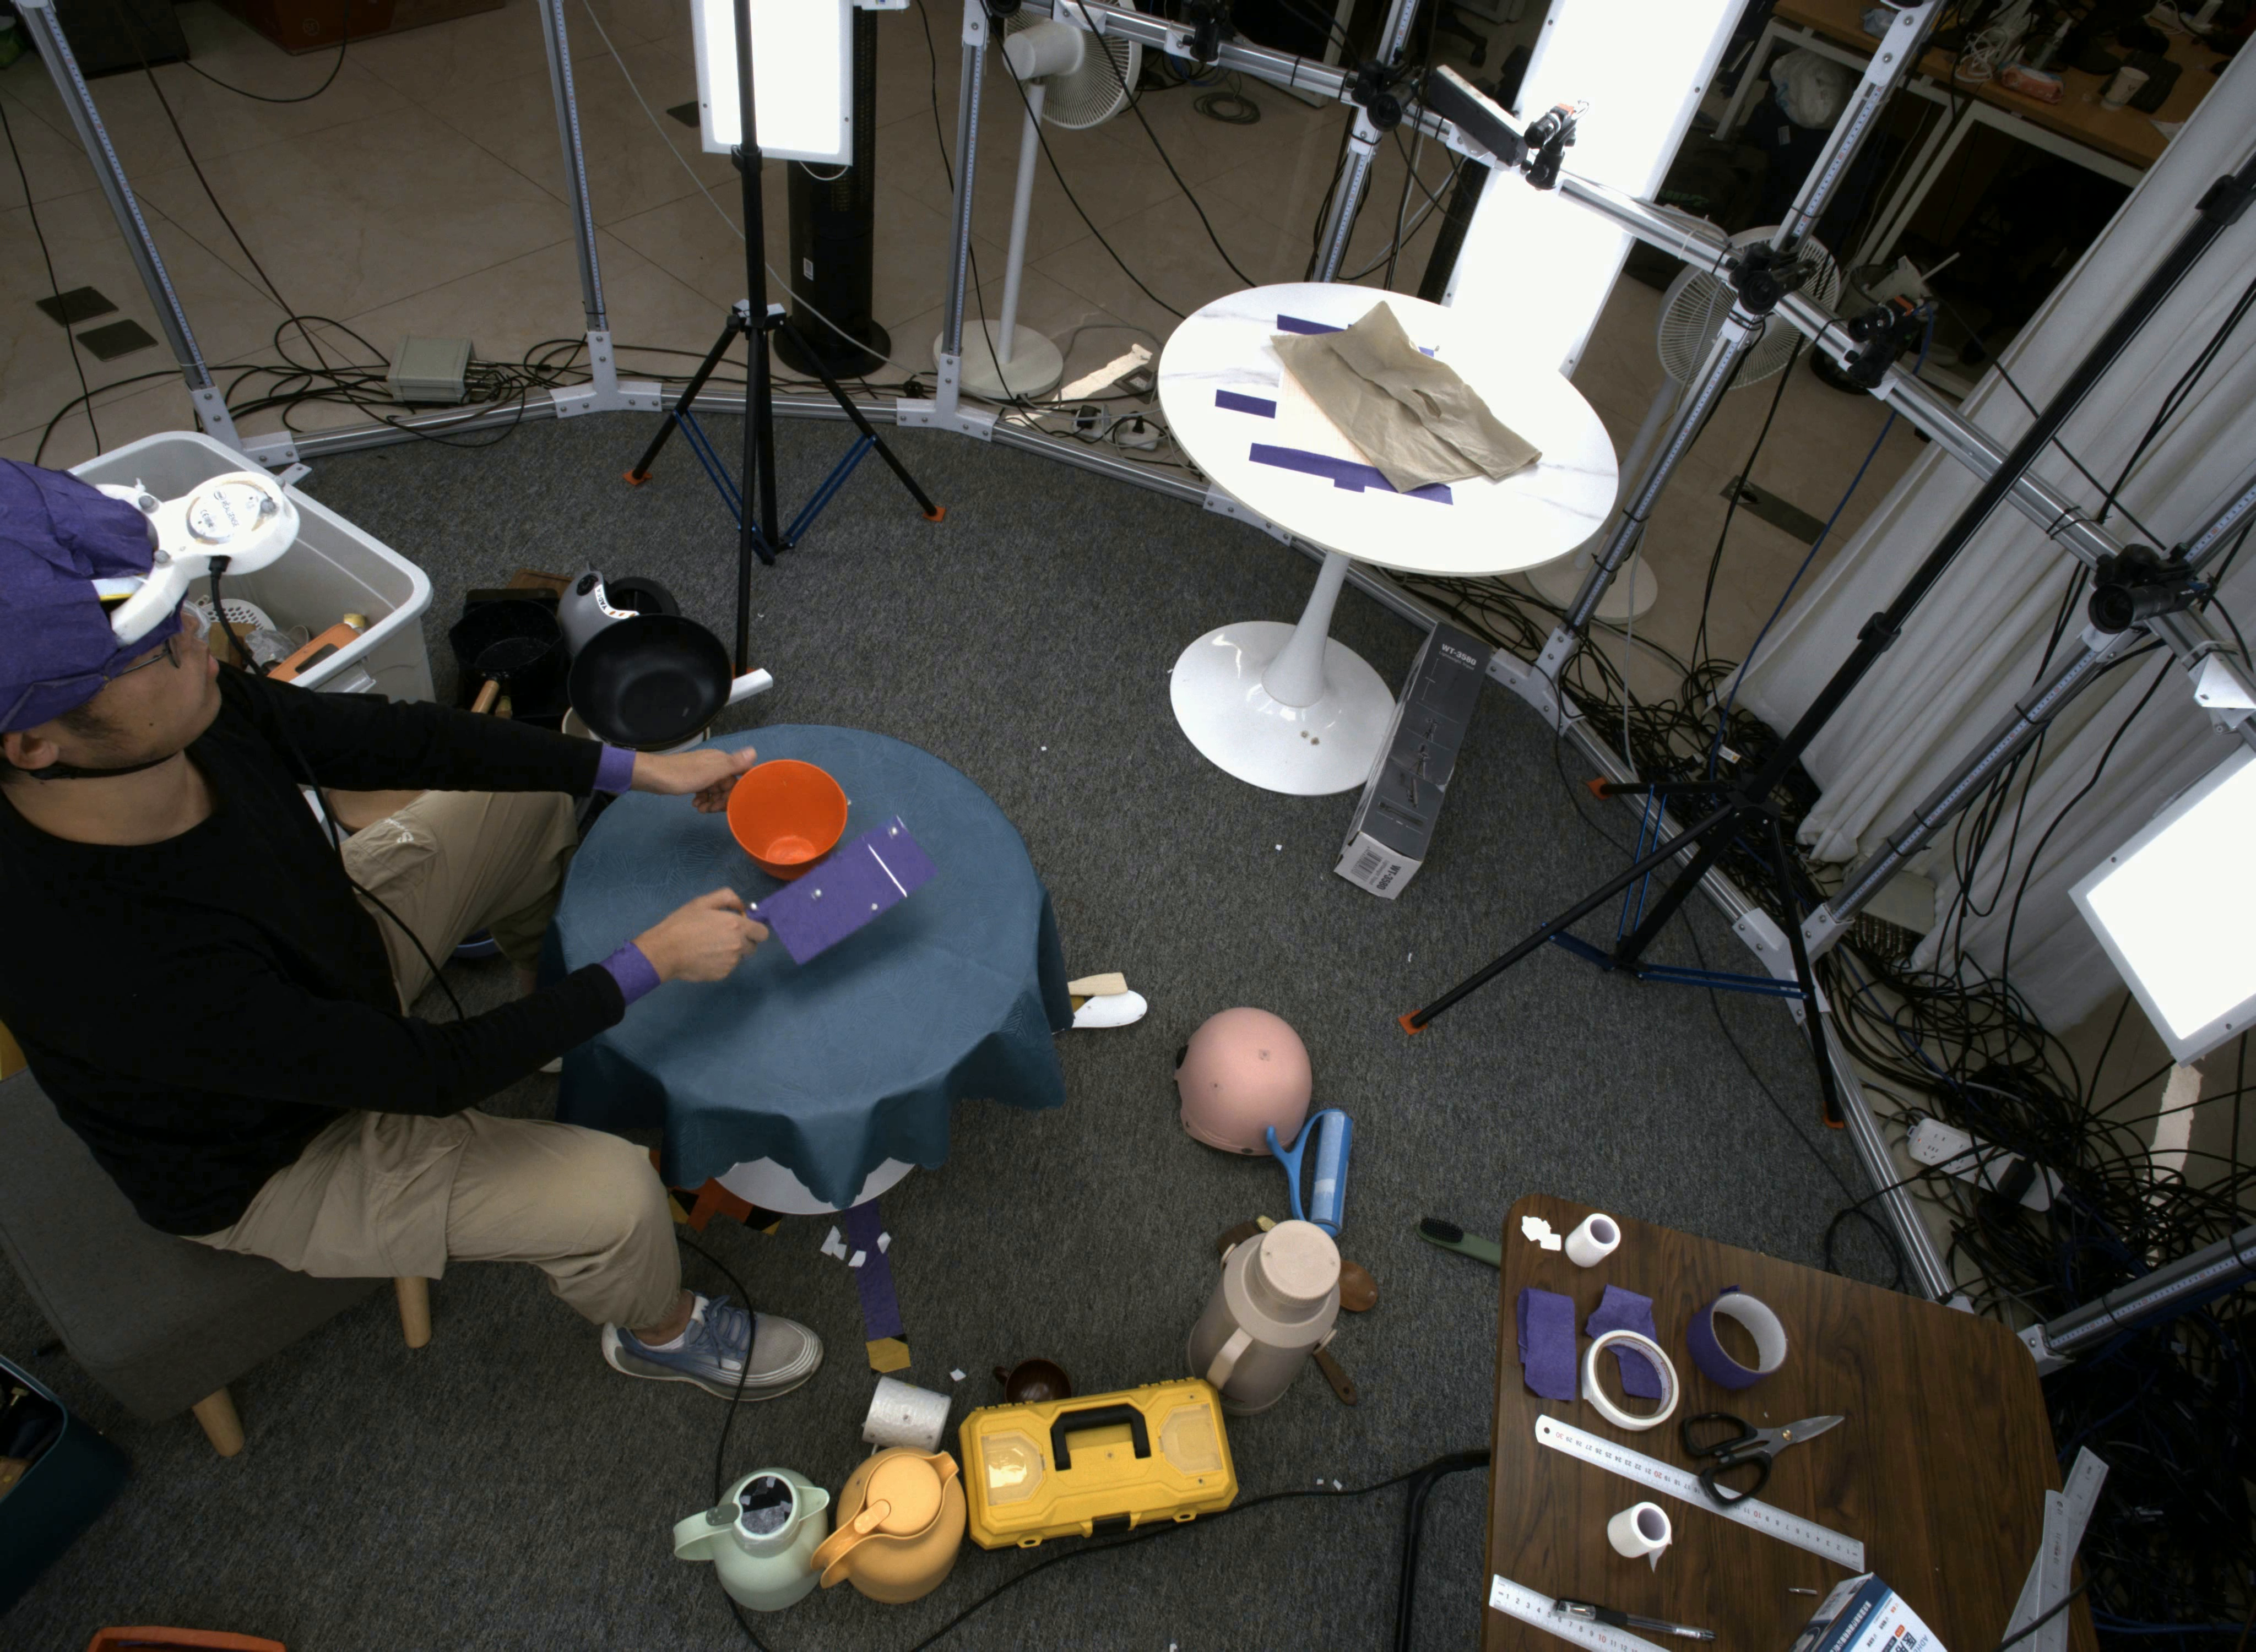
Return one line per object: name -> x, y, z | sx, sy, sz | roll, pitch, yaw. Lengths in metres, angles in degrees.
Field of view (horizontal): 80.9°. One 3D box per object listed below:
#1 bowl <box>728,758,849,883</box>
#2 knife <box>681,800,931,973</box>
bowl -> -0.431, 0.003, 1.648 | 0.148, 0.107, 0.145 | 9, 49, -9
knife -> -0.379, 0.093, 1.556 | 0.315, 0.032, 0.104 | -37, 92, -22
